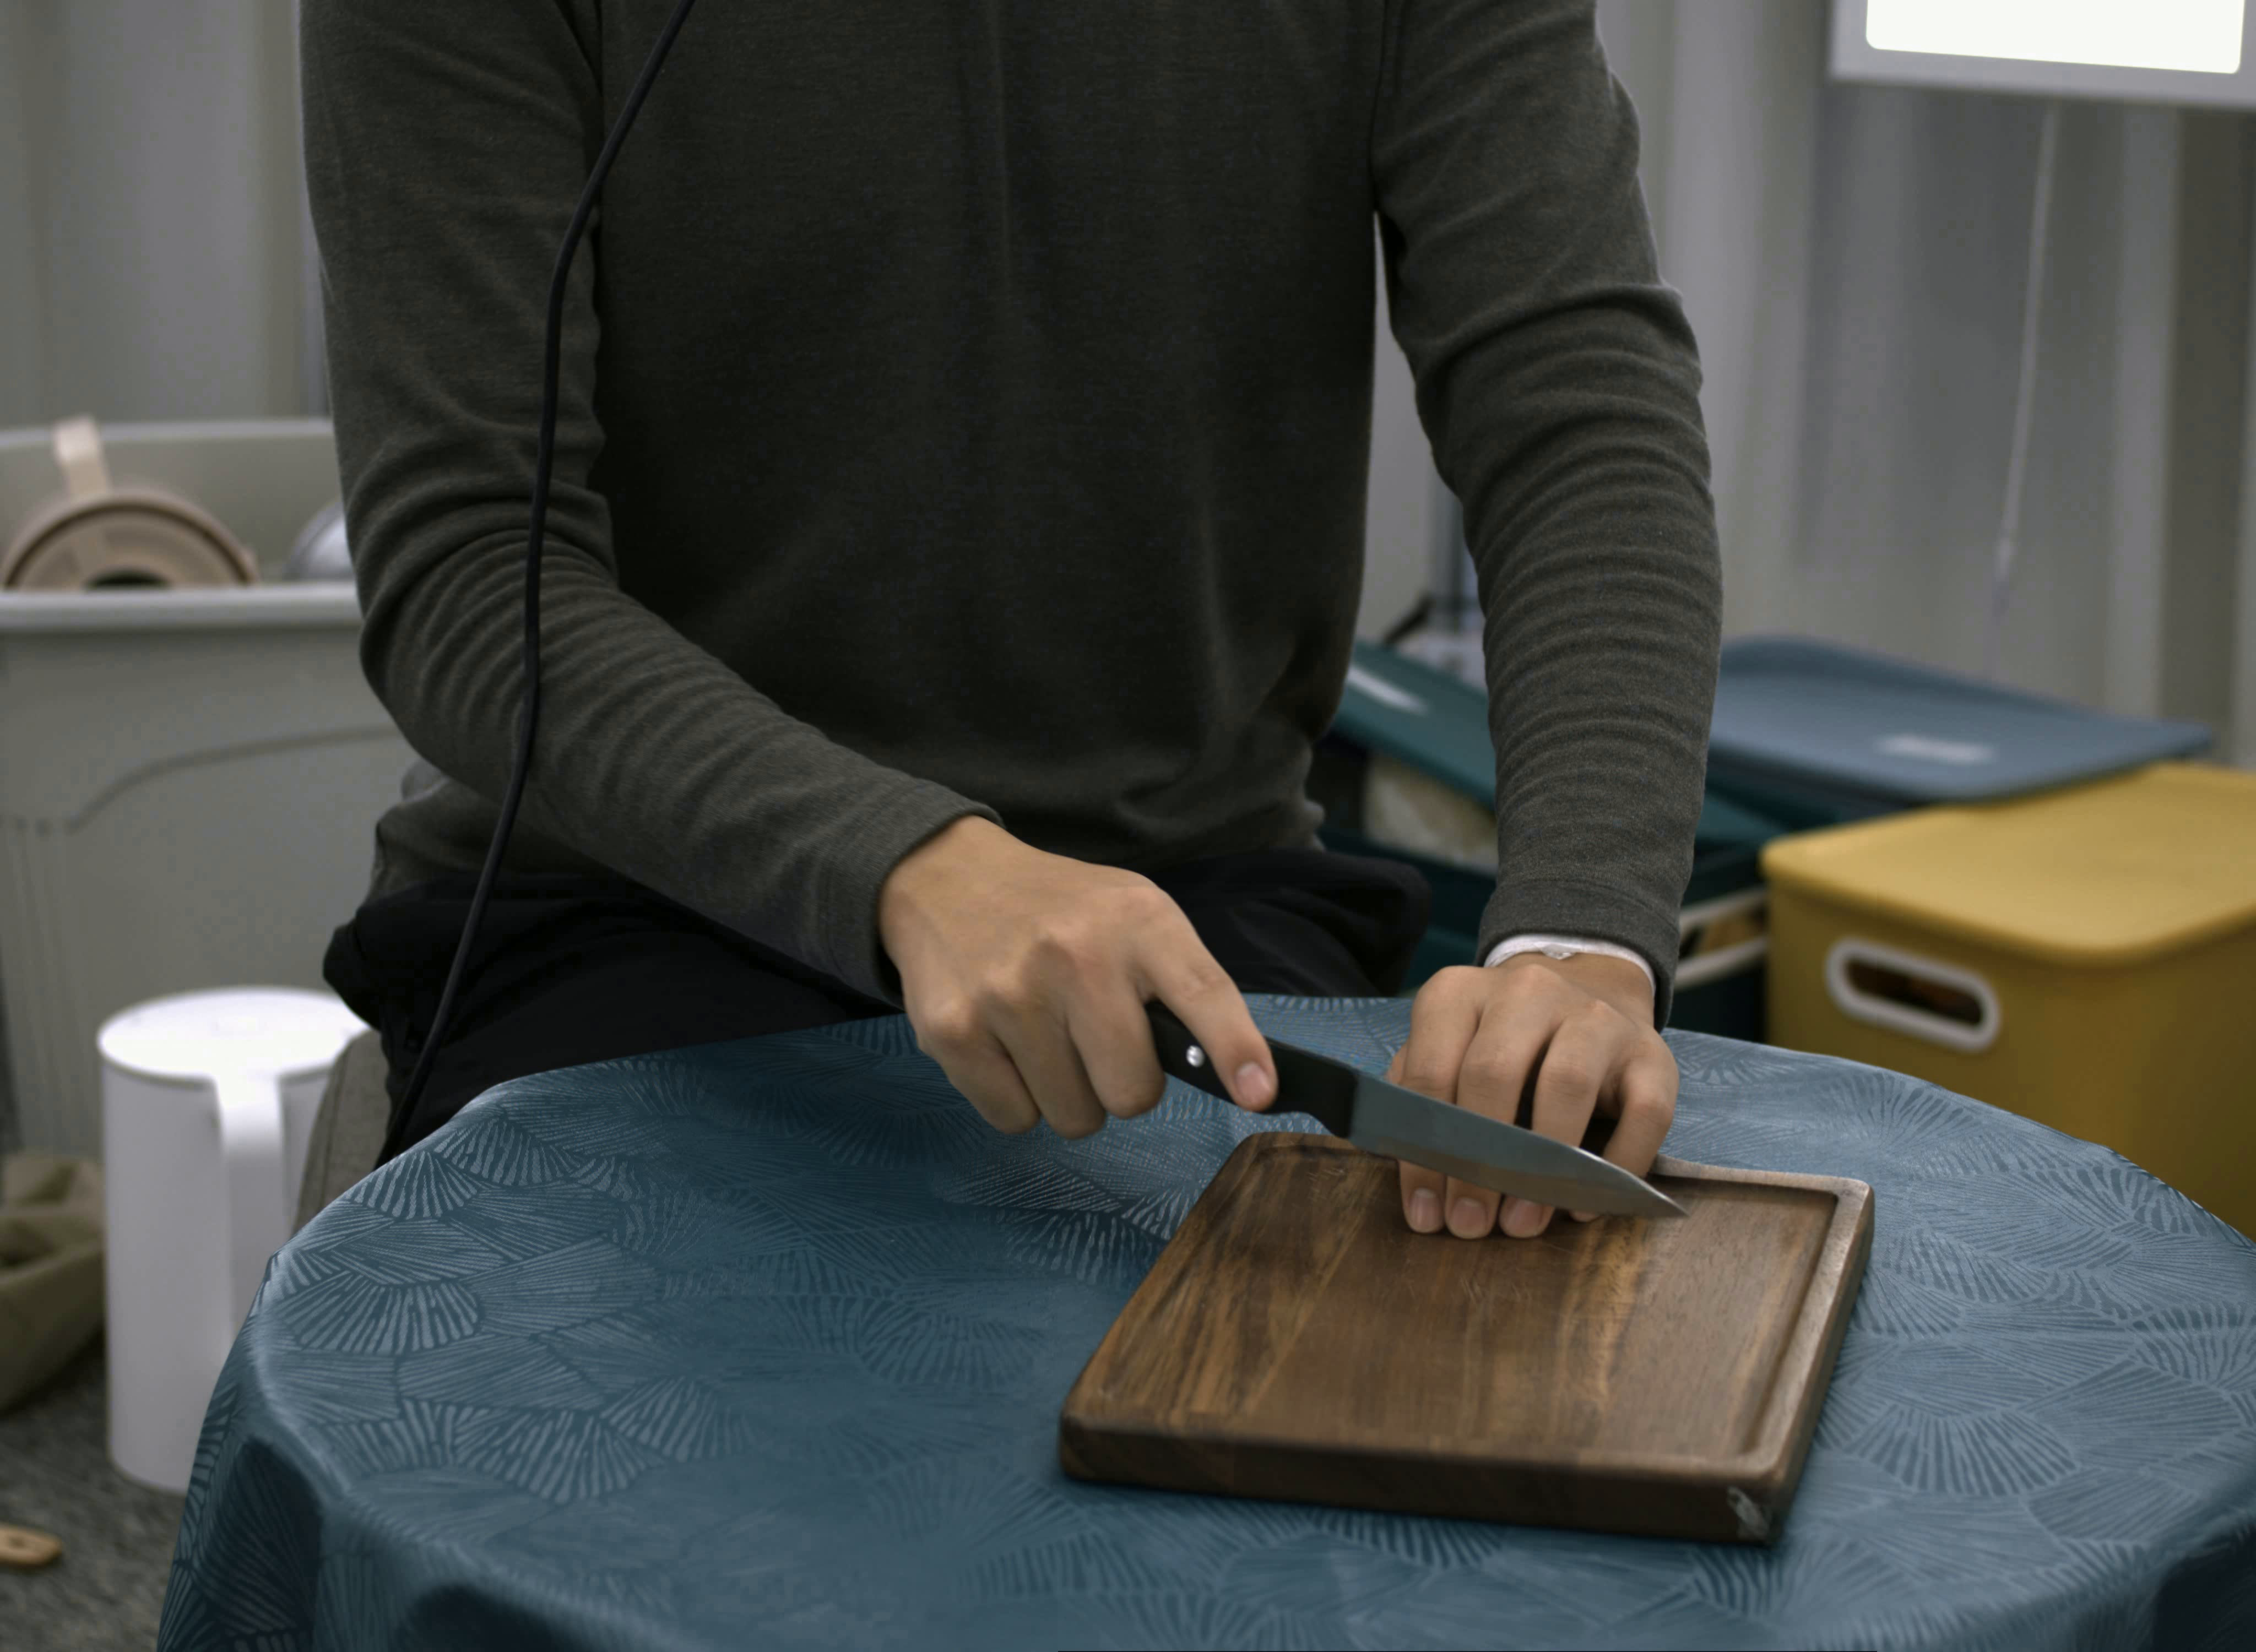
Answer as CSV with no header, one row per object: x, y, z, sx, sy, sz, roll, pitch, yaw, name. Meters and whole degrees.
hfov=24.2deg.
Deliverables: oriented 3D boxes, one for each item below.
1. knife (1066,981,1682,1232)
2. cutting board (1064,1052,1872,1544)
0.068,0.080,1.524,0.235,0.025,0.016,18,27,41,knife
0.114,0.127,1.538,0.199,0.023,0.352,4,15,12,cutting board
